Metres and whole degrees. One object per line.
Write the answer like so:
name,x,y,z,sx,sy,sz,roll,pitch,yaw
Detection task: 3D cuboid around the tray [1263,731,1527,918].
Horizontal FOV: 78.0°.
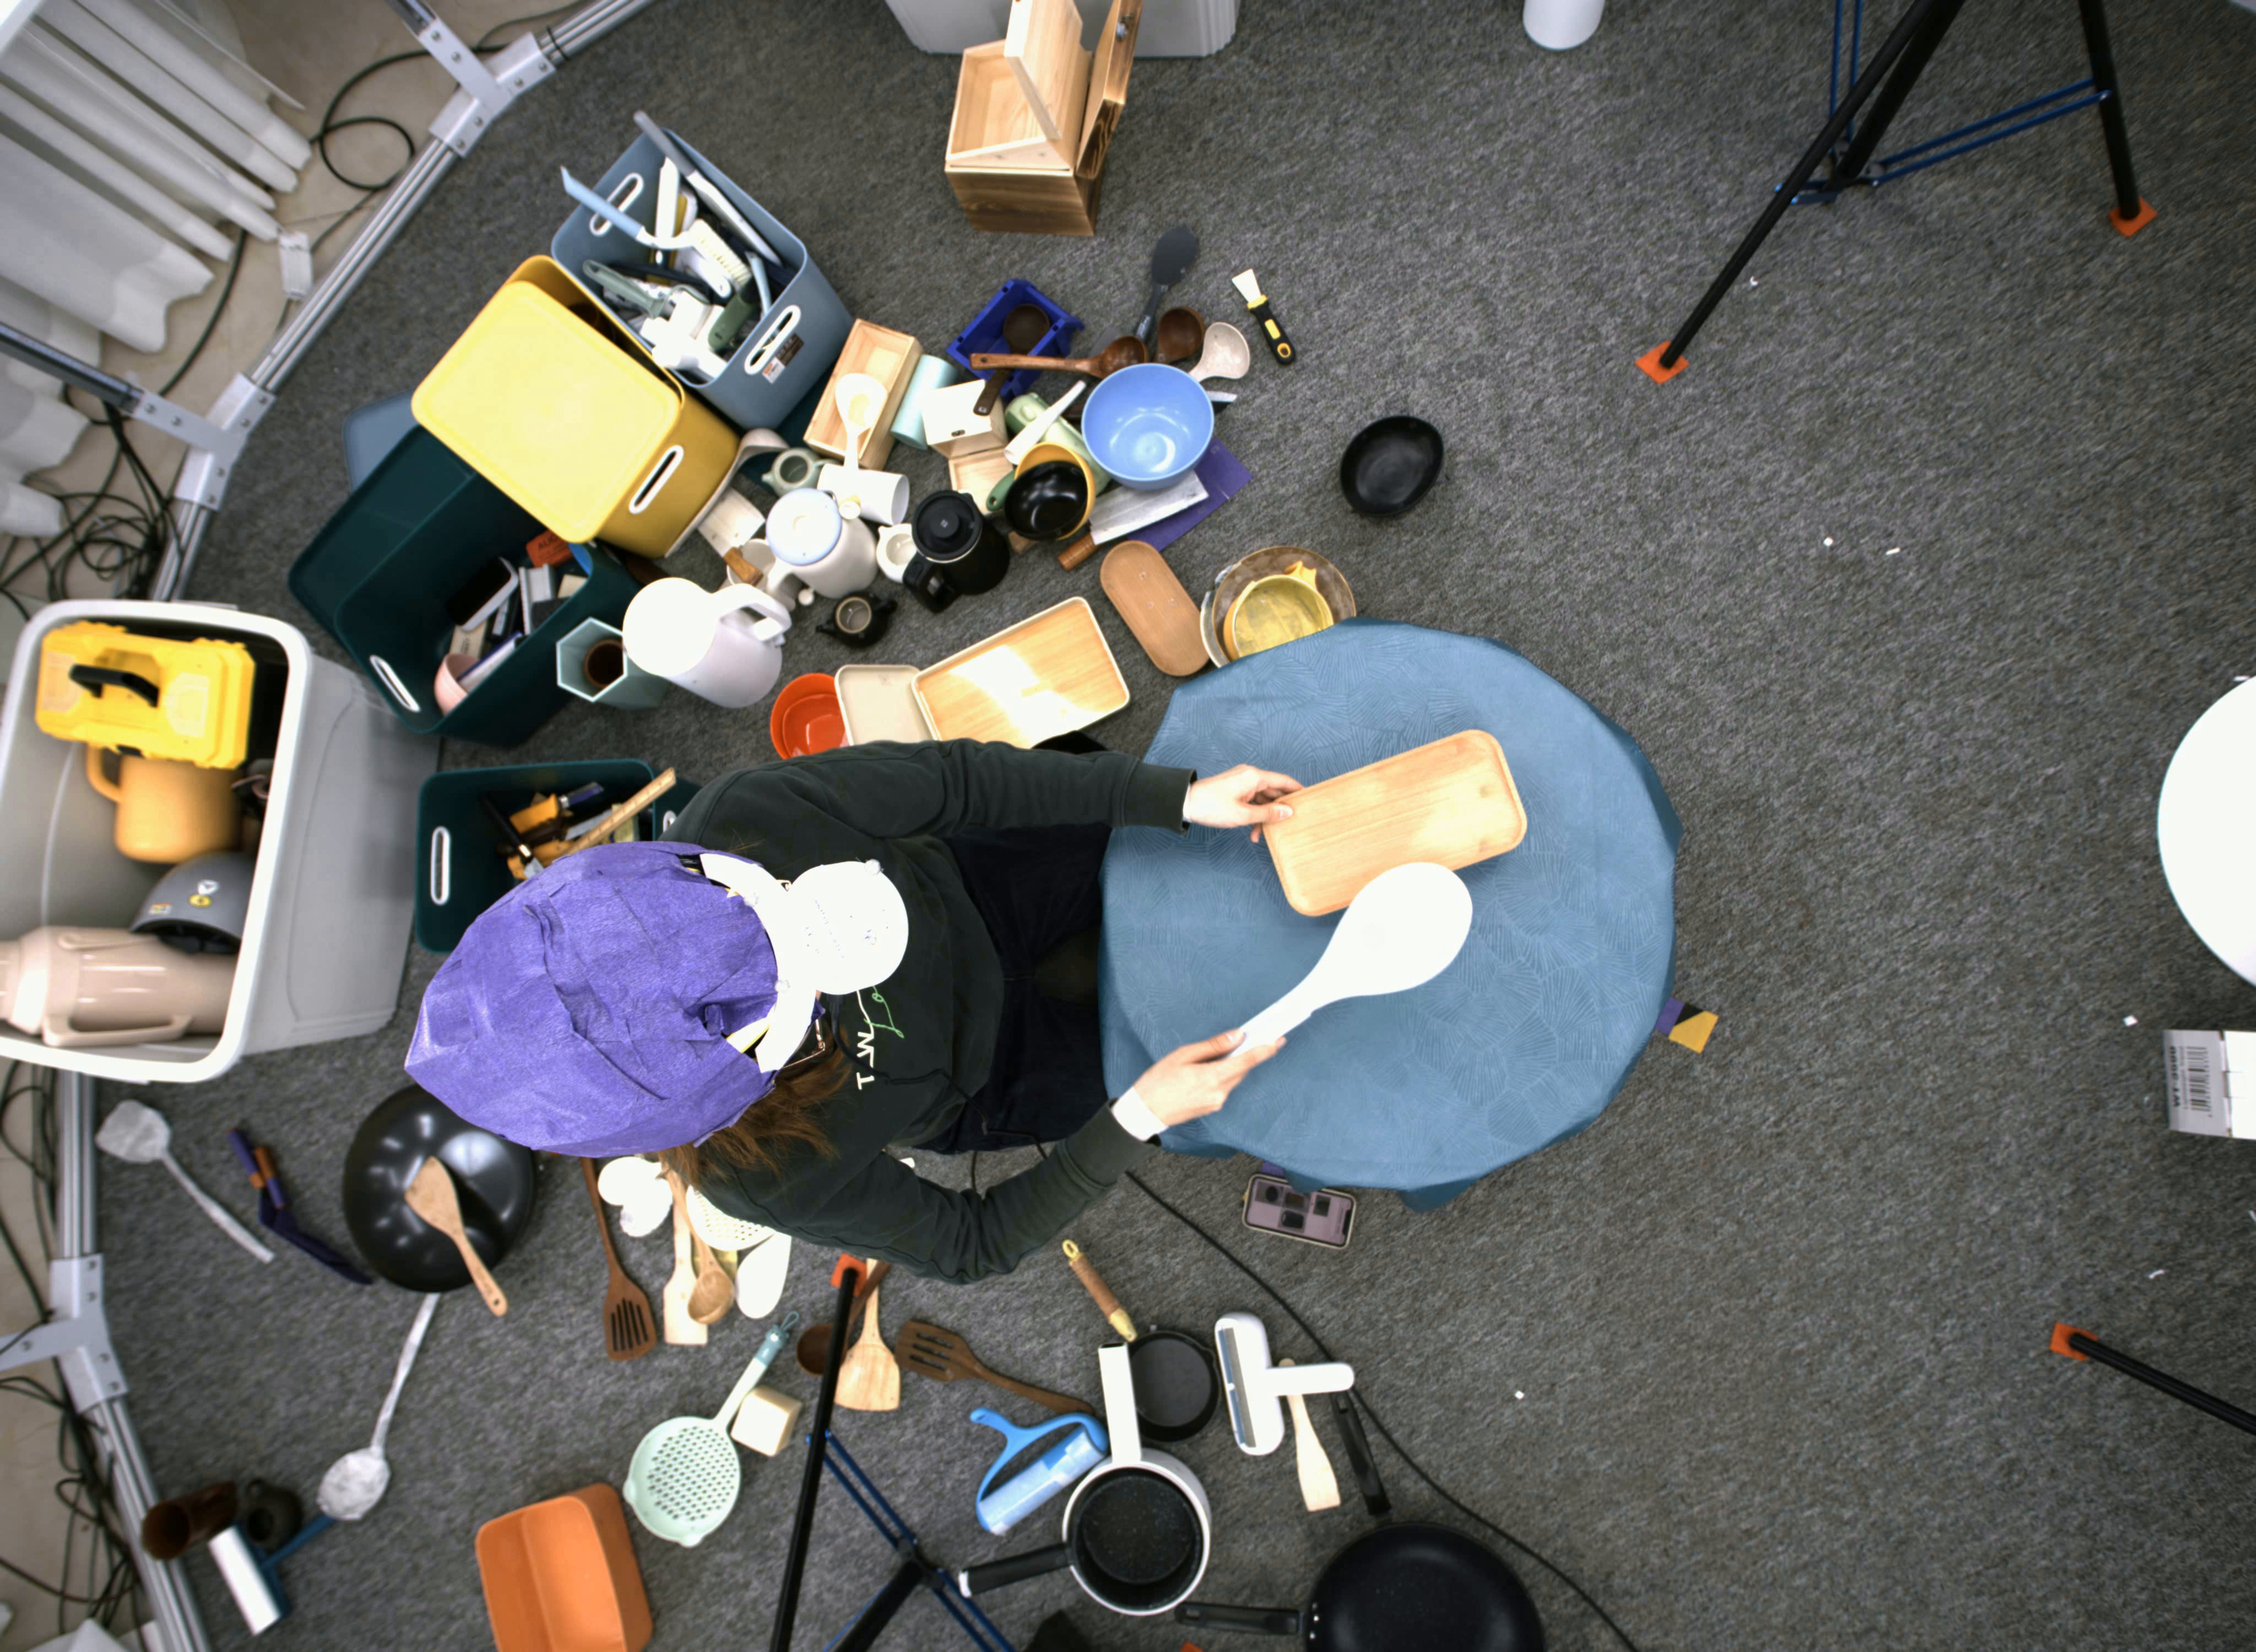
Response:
tray,0.267,-0.002,1.388,0.252,0.023,0.130,-20,88,12

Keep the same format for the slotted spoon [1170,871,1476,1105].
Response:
slotted spoon,0.182,0.164,1.323,0.353,0.133,0.046,-33,126,12
